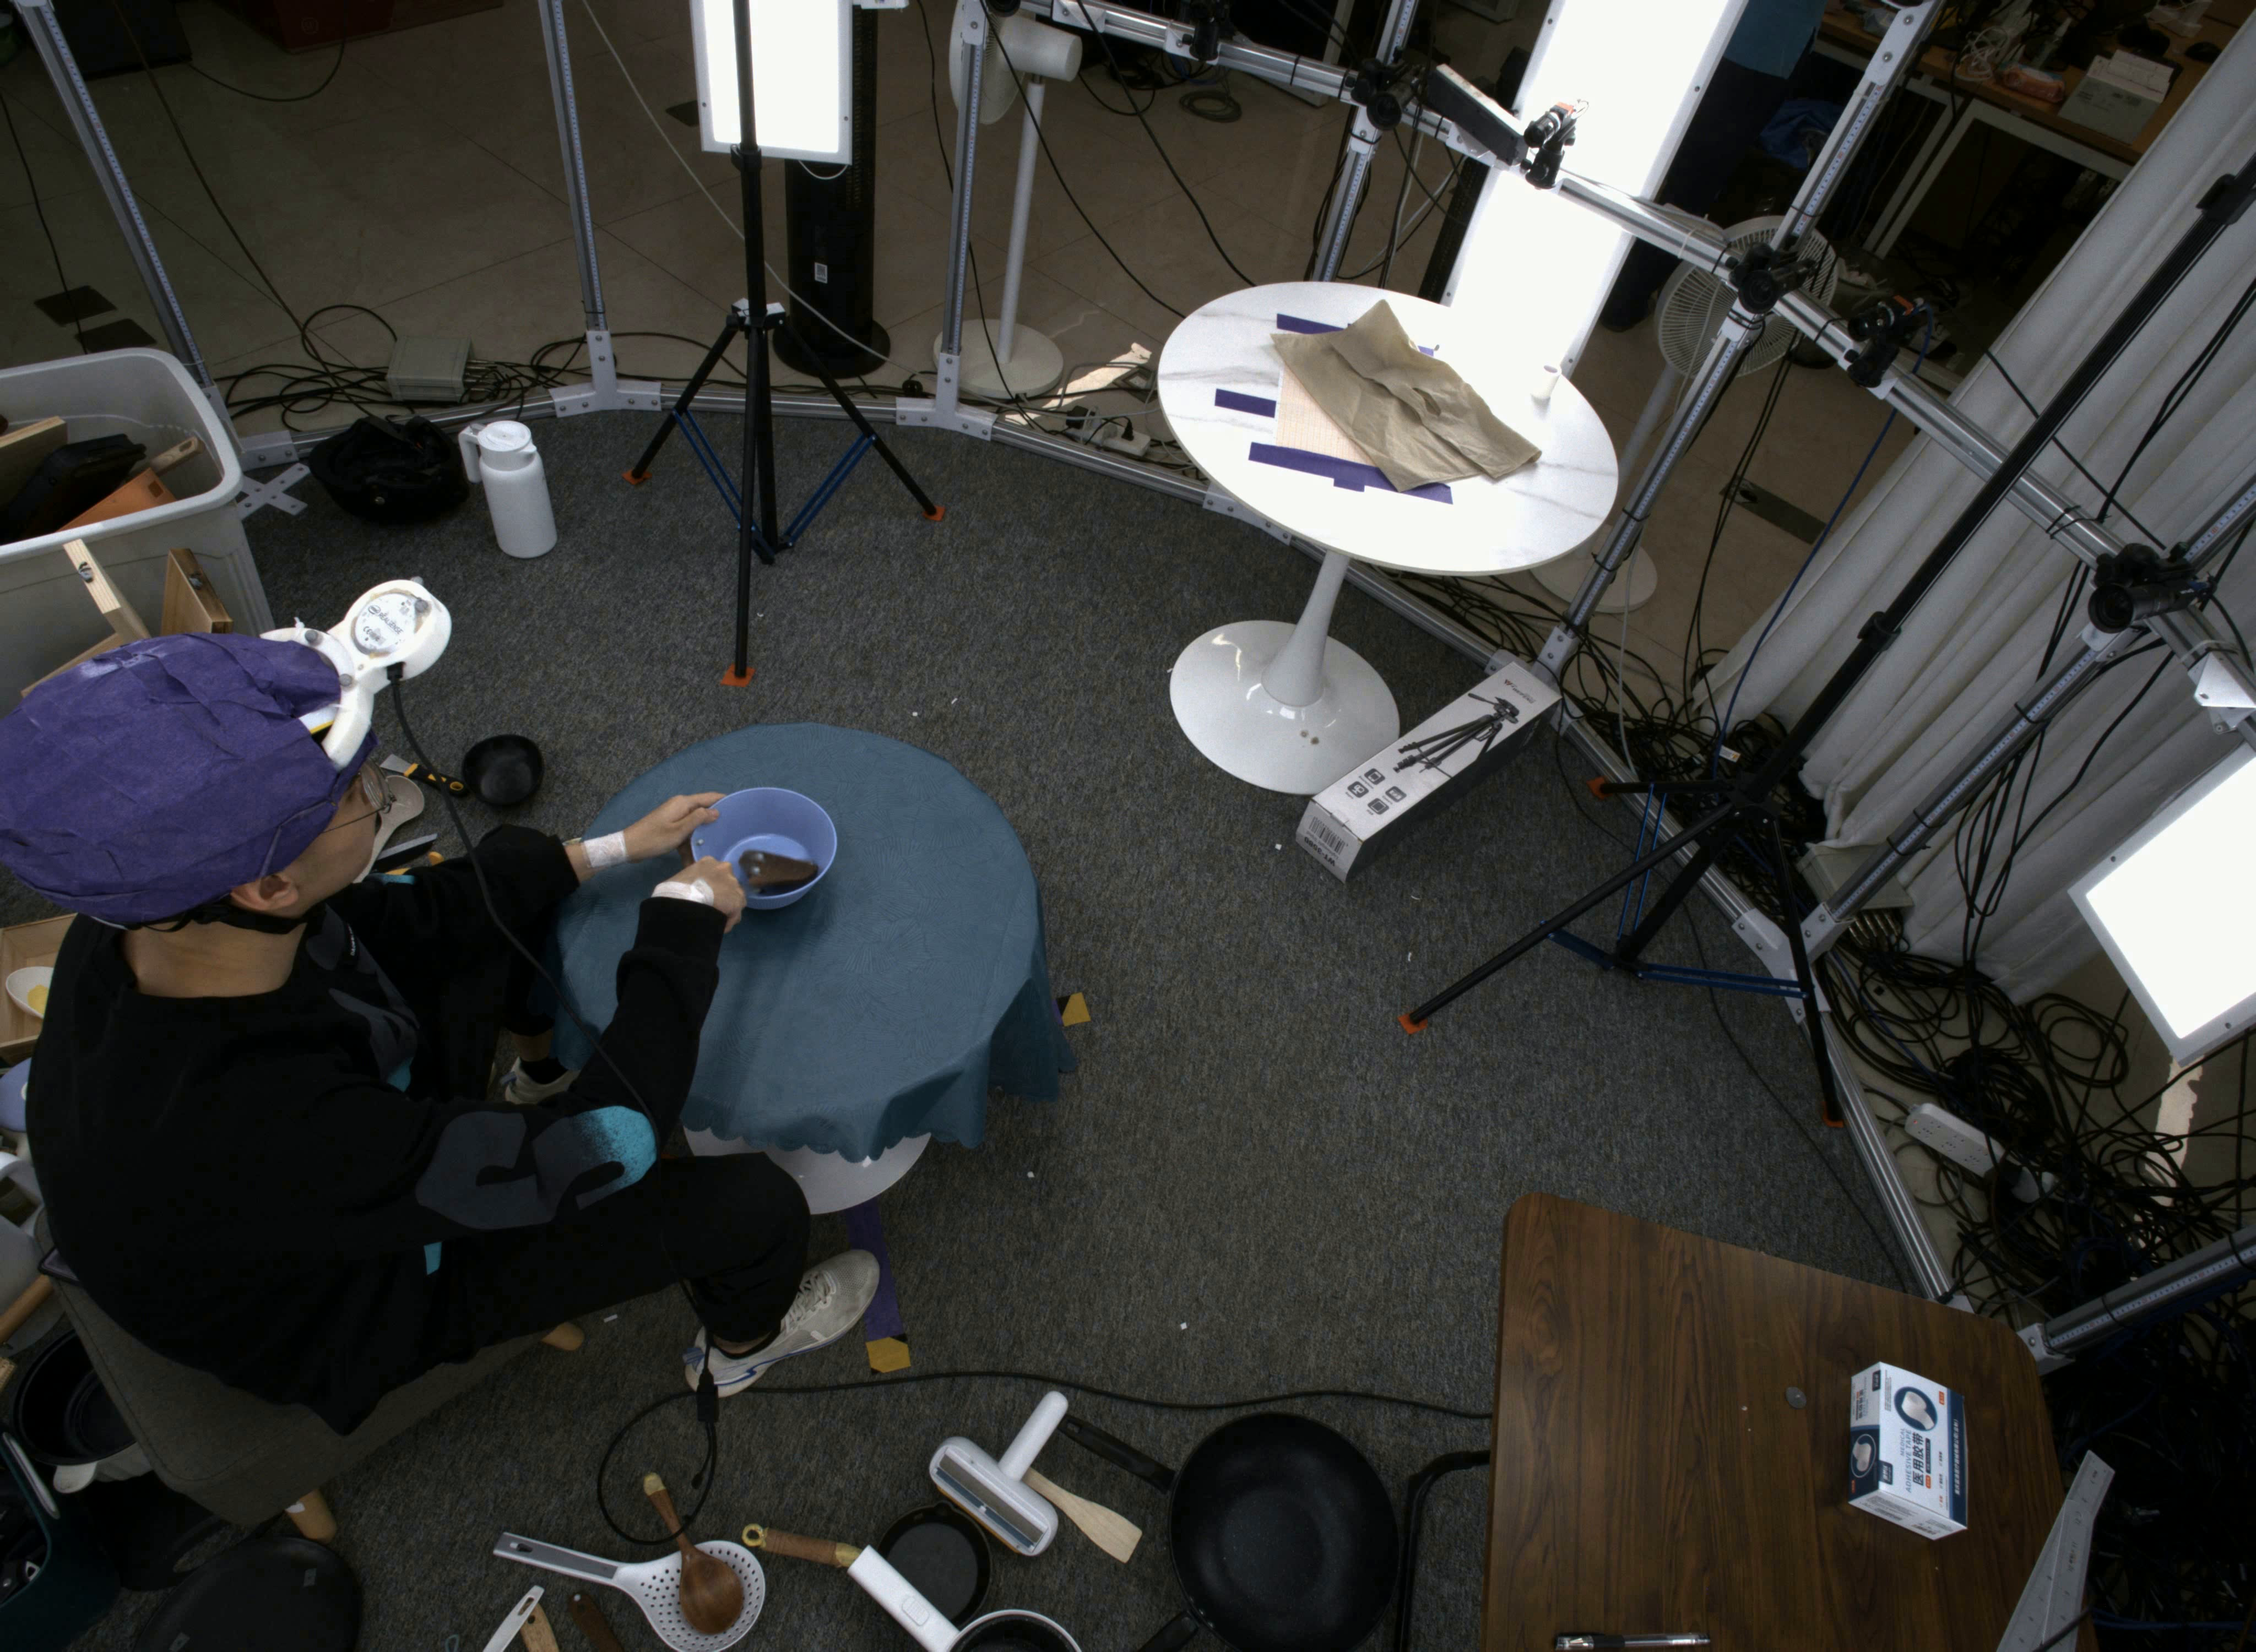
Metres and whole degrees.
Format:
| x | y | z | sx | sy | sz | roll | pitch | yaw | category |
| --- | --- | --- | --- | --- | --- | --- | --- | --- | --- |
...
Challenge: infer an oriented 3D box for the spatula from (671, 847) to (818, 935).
| x | y | z | sx | sy | sz | roll | pitch | yaw | category |
| --- | --- | --- | --- | --- | --- | --- | --- | --- | --- |
| -0.447 | 0.070 | 1.485 | 0.095 | 0.016 | 0.382 | 17 | 9 | -1 | spatula |

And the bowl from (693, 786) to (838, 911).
| x | y | z | sx | sy | sz | roll | pitch | yaw | category |
| --- | --- | --- | --- | --- | --- | --- | --- | --- | --- |
| -0.456 | 0.038 | 1.633 | 0.176 | 0.071 | 0.173 | 9 | 53 | -10 | bowl |
